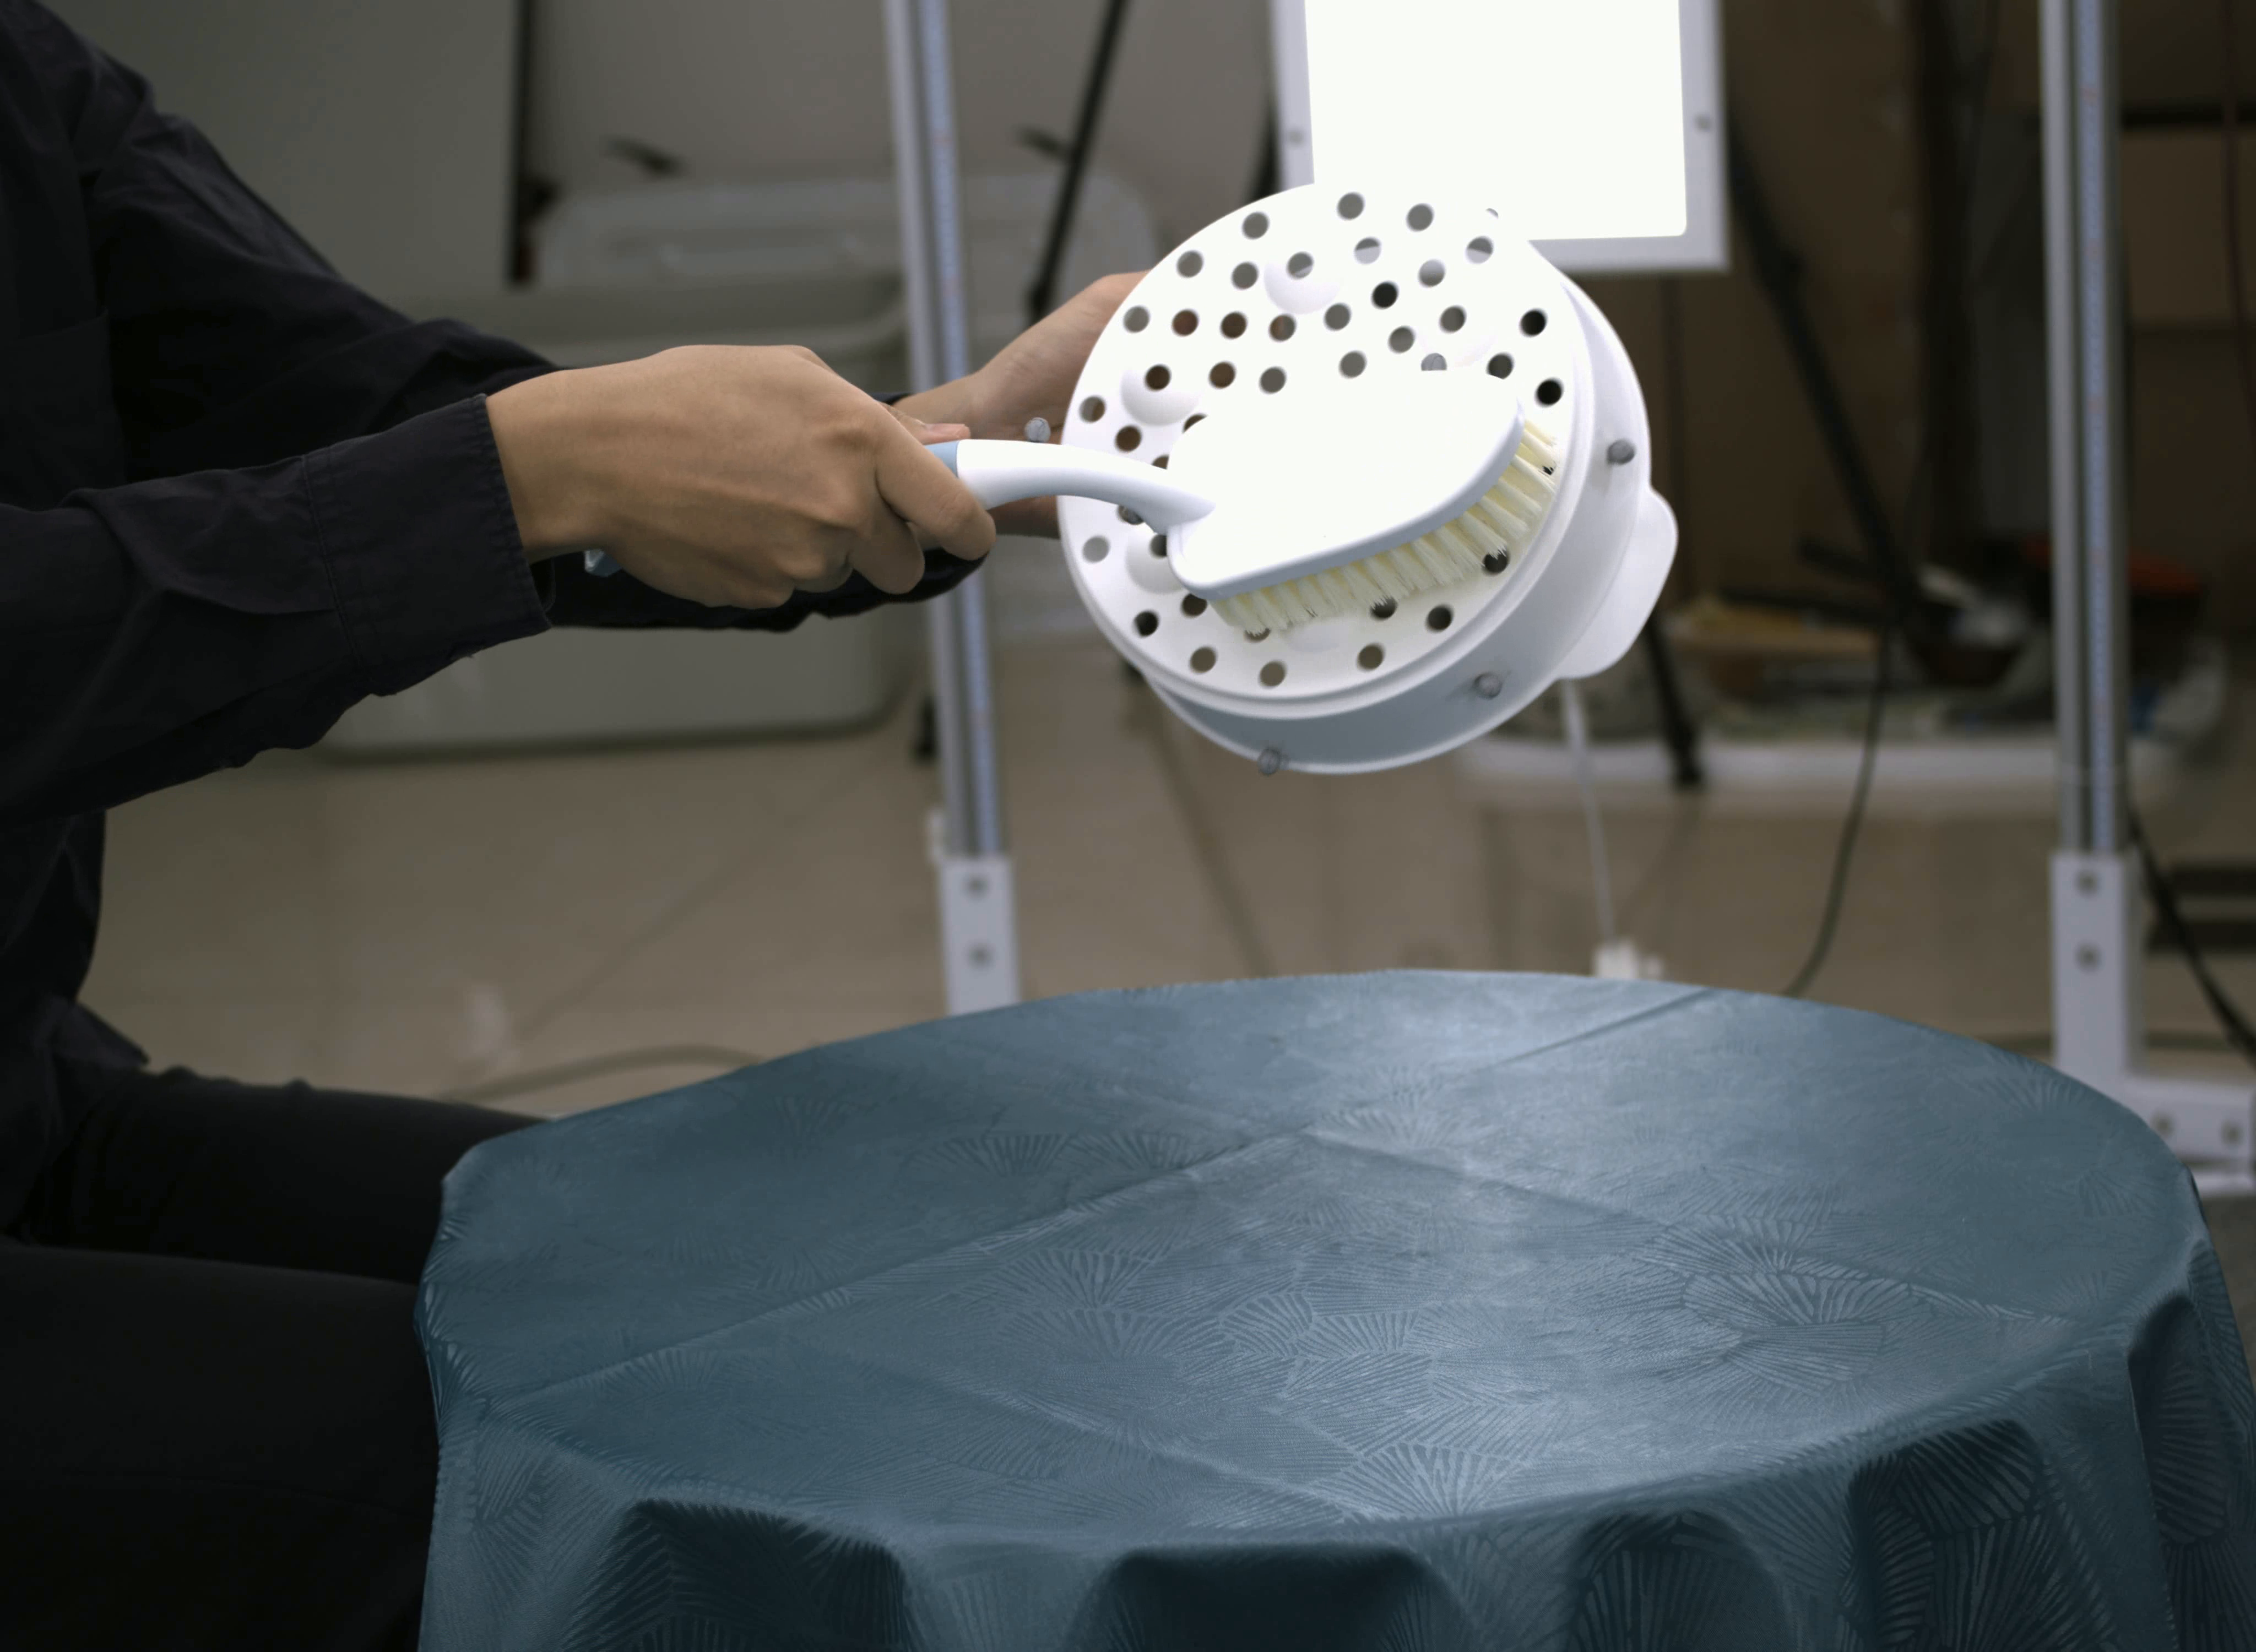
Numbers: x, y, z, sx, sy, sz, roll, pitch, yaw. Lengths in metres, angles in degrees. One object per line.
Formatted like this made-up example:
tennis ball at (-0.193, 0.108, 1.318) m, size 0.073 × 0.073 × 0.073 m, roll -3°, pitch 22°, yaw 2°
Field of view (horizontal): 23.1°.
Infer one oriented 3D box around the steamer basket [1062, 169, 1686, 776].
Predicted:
steamer basket at (0.075, -0.122, 1.854) m, size 0.234 × 0.201 × 0.068 m, roll 23°, pitch -7°, yaw 30°

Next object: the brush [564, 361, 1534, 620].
brush at (-0.024, -0.104, 1.821) m, size 0.328 × 0.084 × 0.082 m, roll -7°, pitch 24°, yaw 15°
